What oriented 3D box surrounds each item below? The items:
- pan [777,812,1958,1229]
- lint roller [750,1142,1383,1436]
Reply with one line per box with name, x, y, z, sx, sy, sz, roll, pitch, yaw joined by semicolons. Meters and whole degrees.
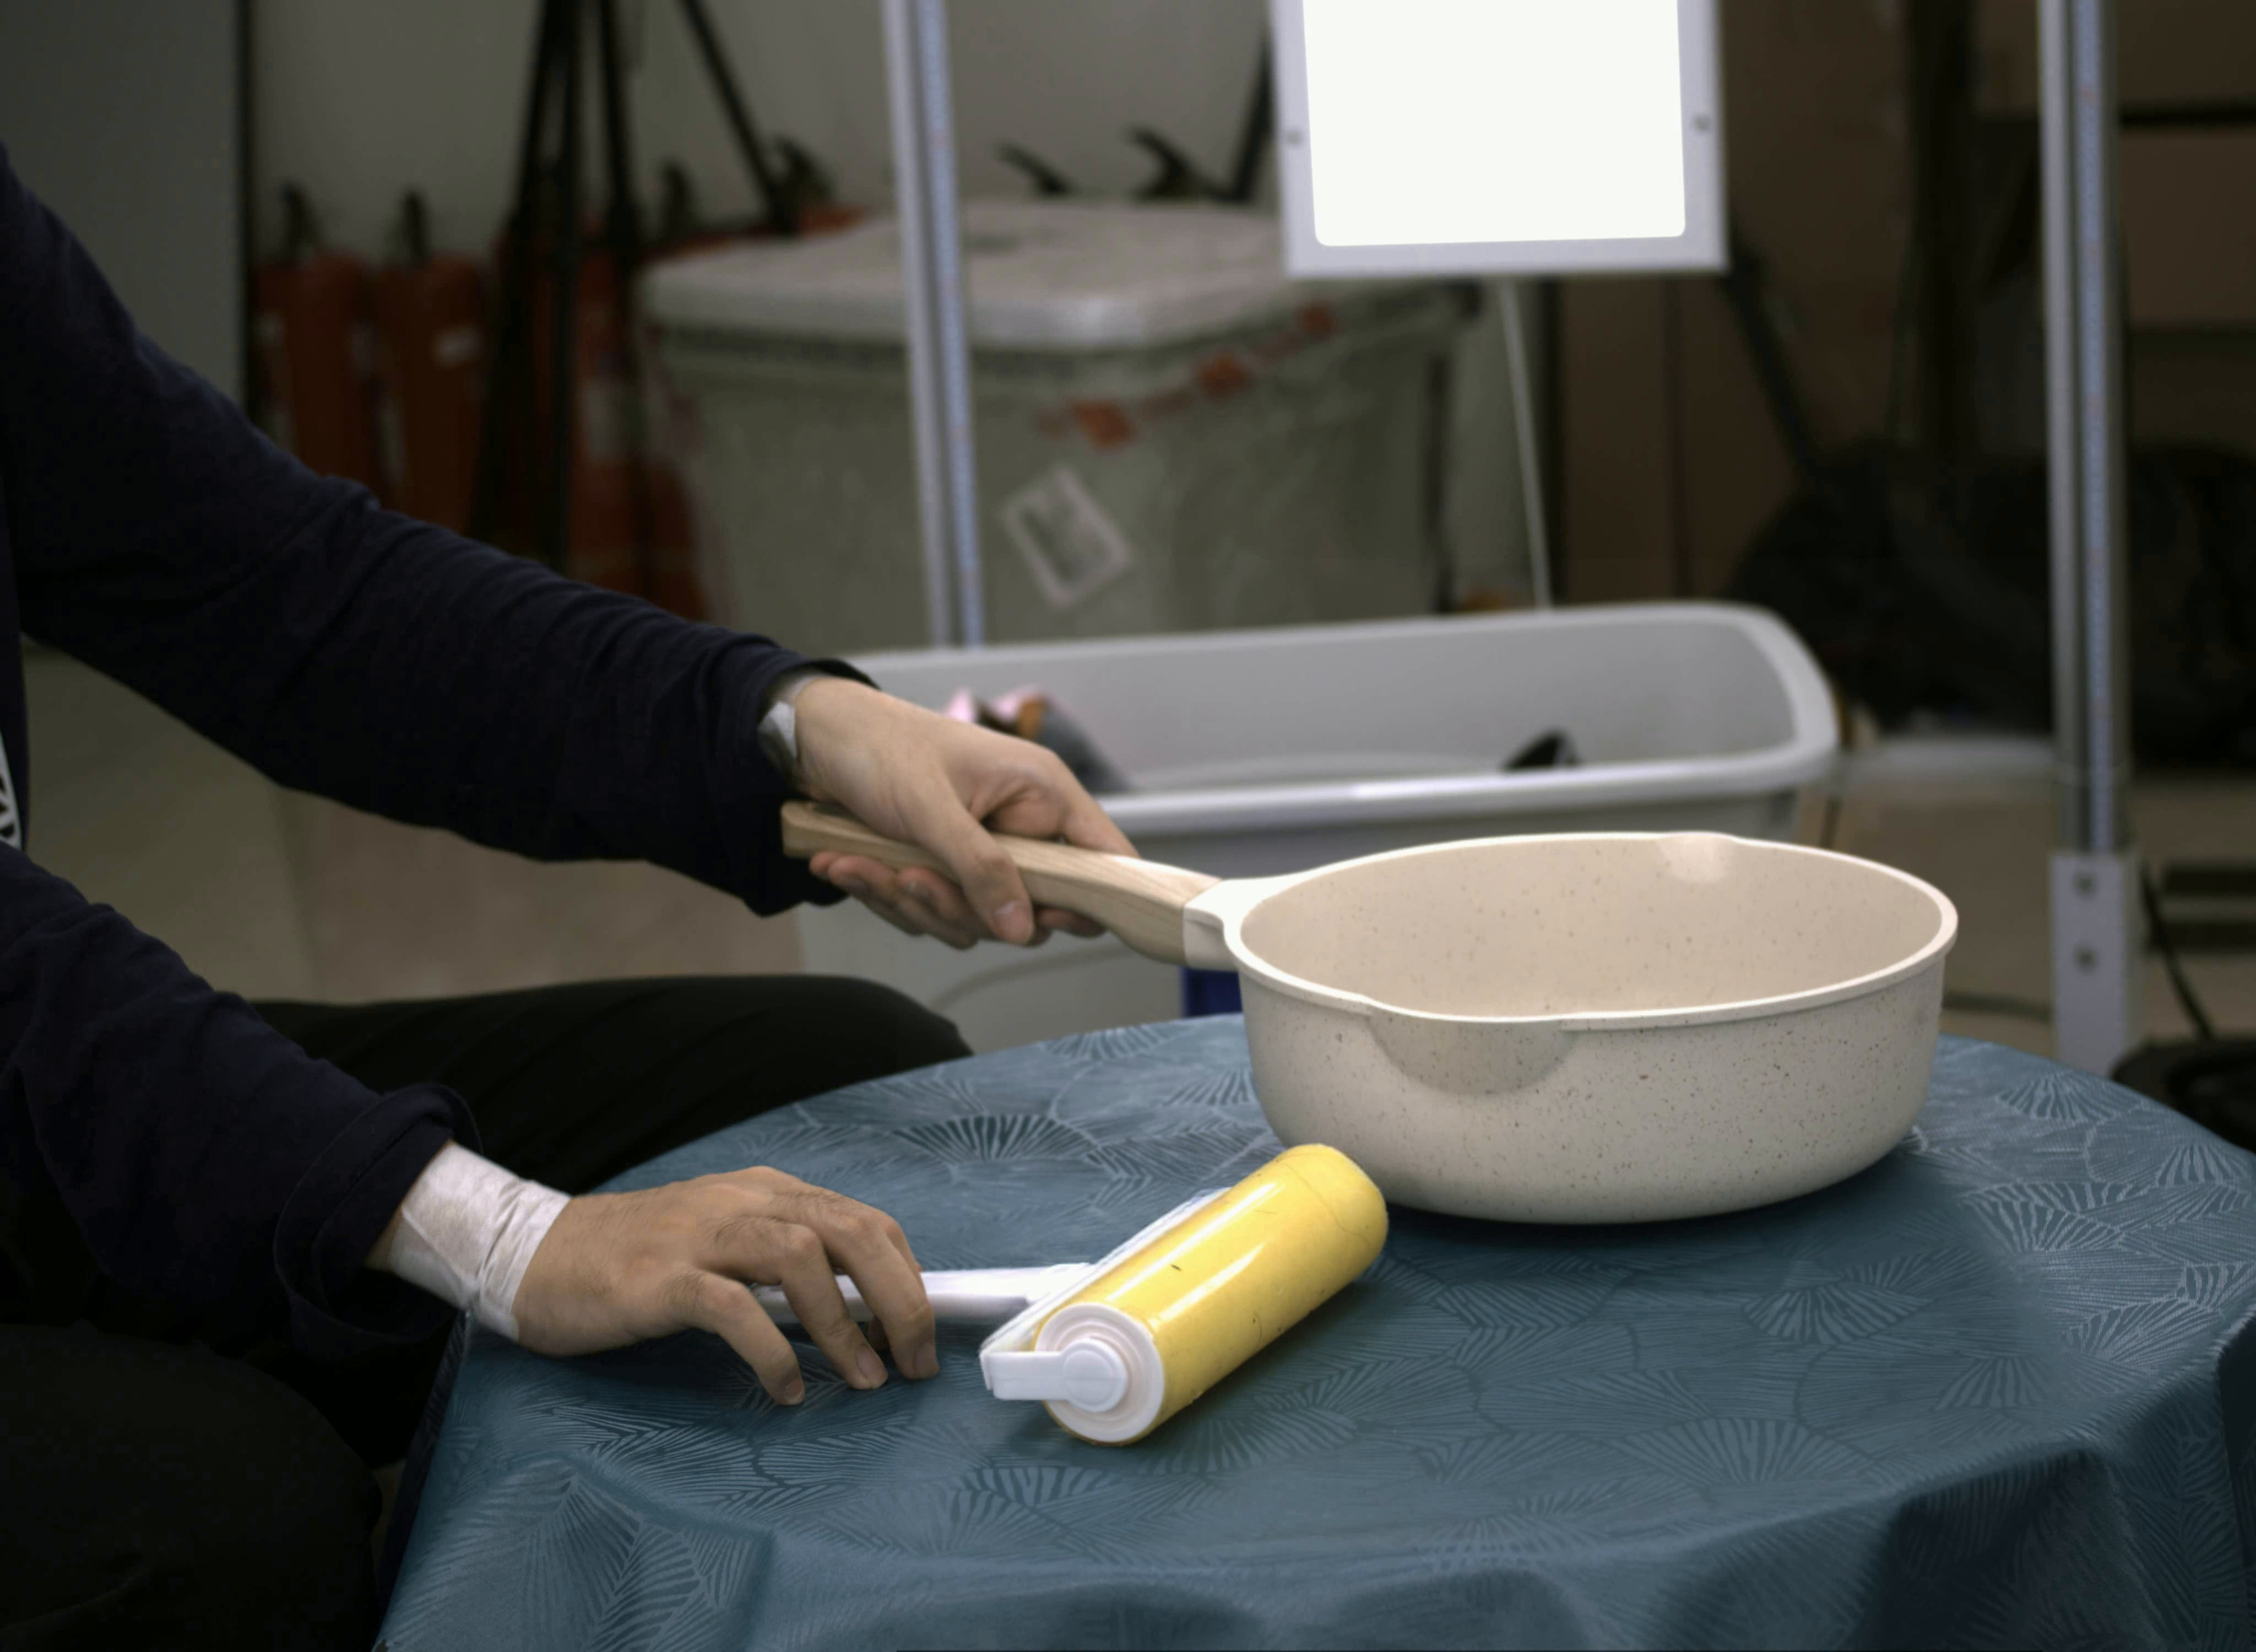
pan;0.078;0.058;1.930;0.442;0.102;0.258;2;17;25
lint roller;-0.038;0.143;1.752;0.195;0.051;0.170;2;15;29
